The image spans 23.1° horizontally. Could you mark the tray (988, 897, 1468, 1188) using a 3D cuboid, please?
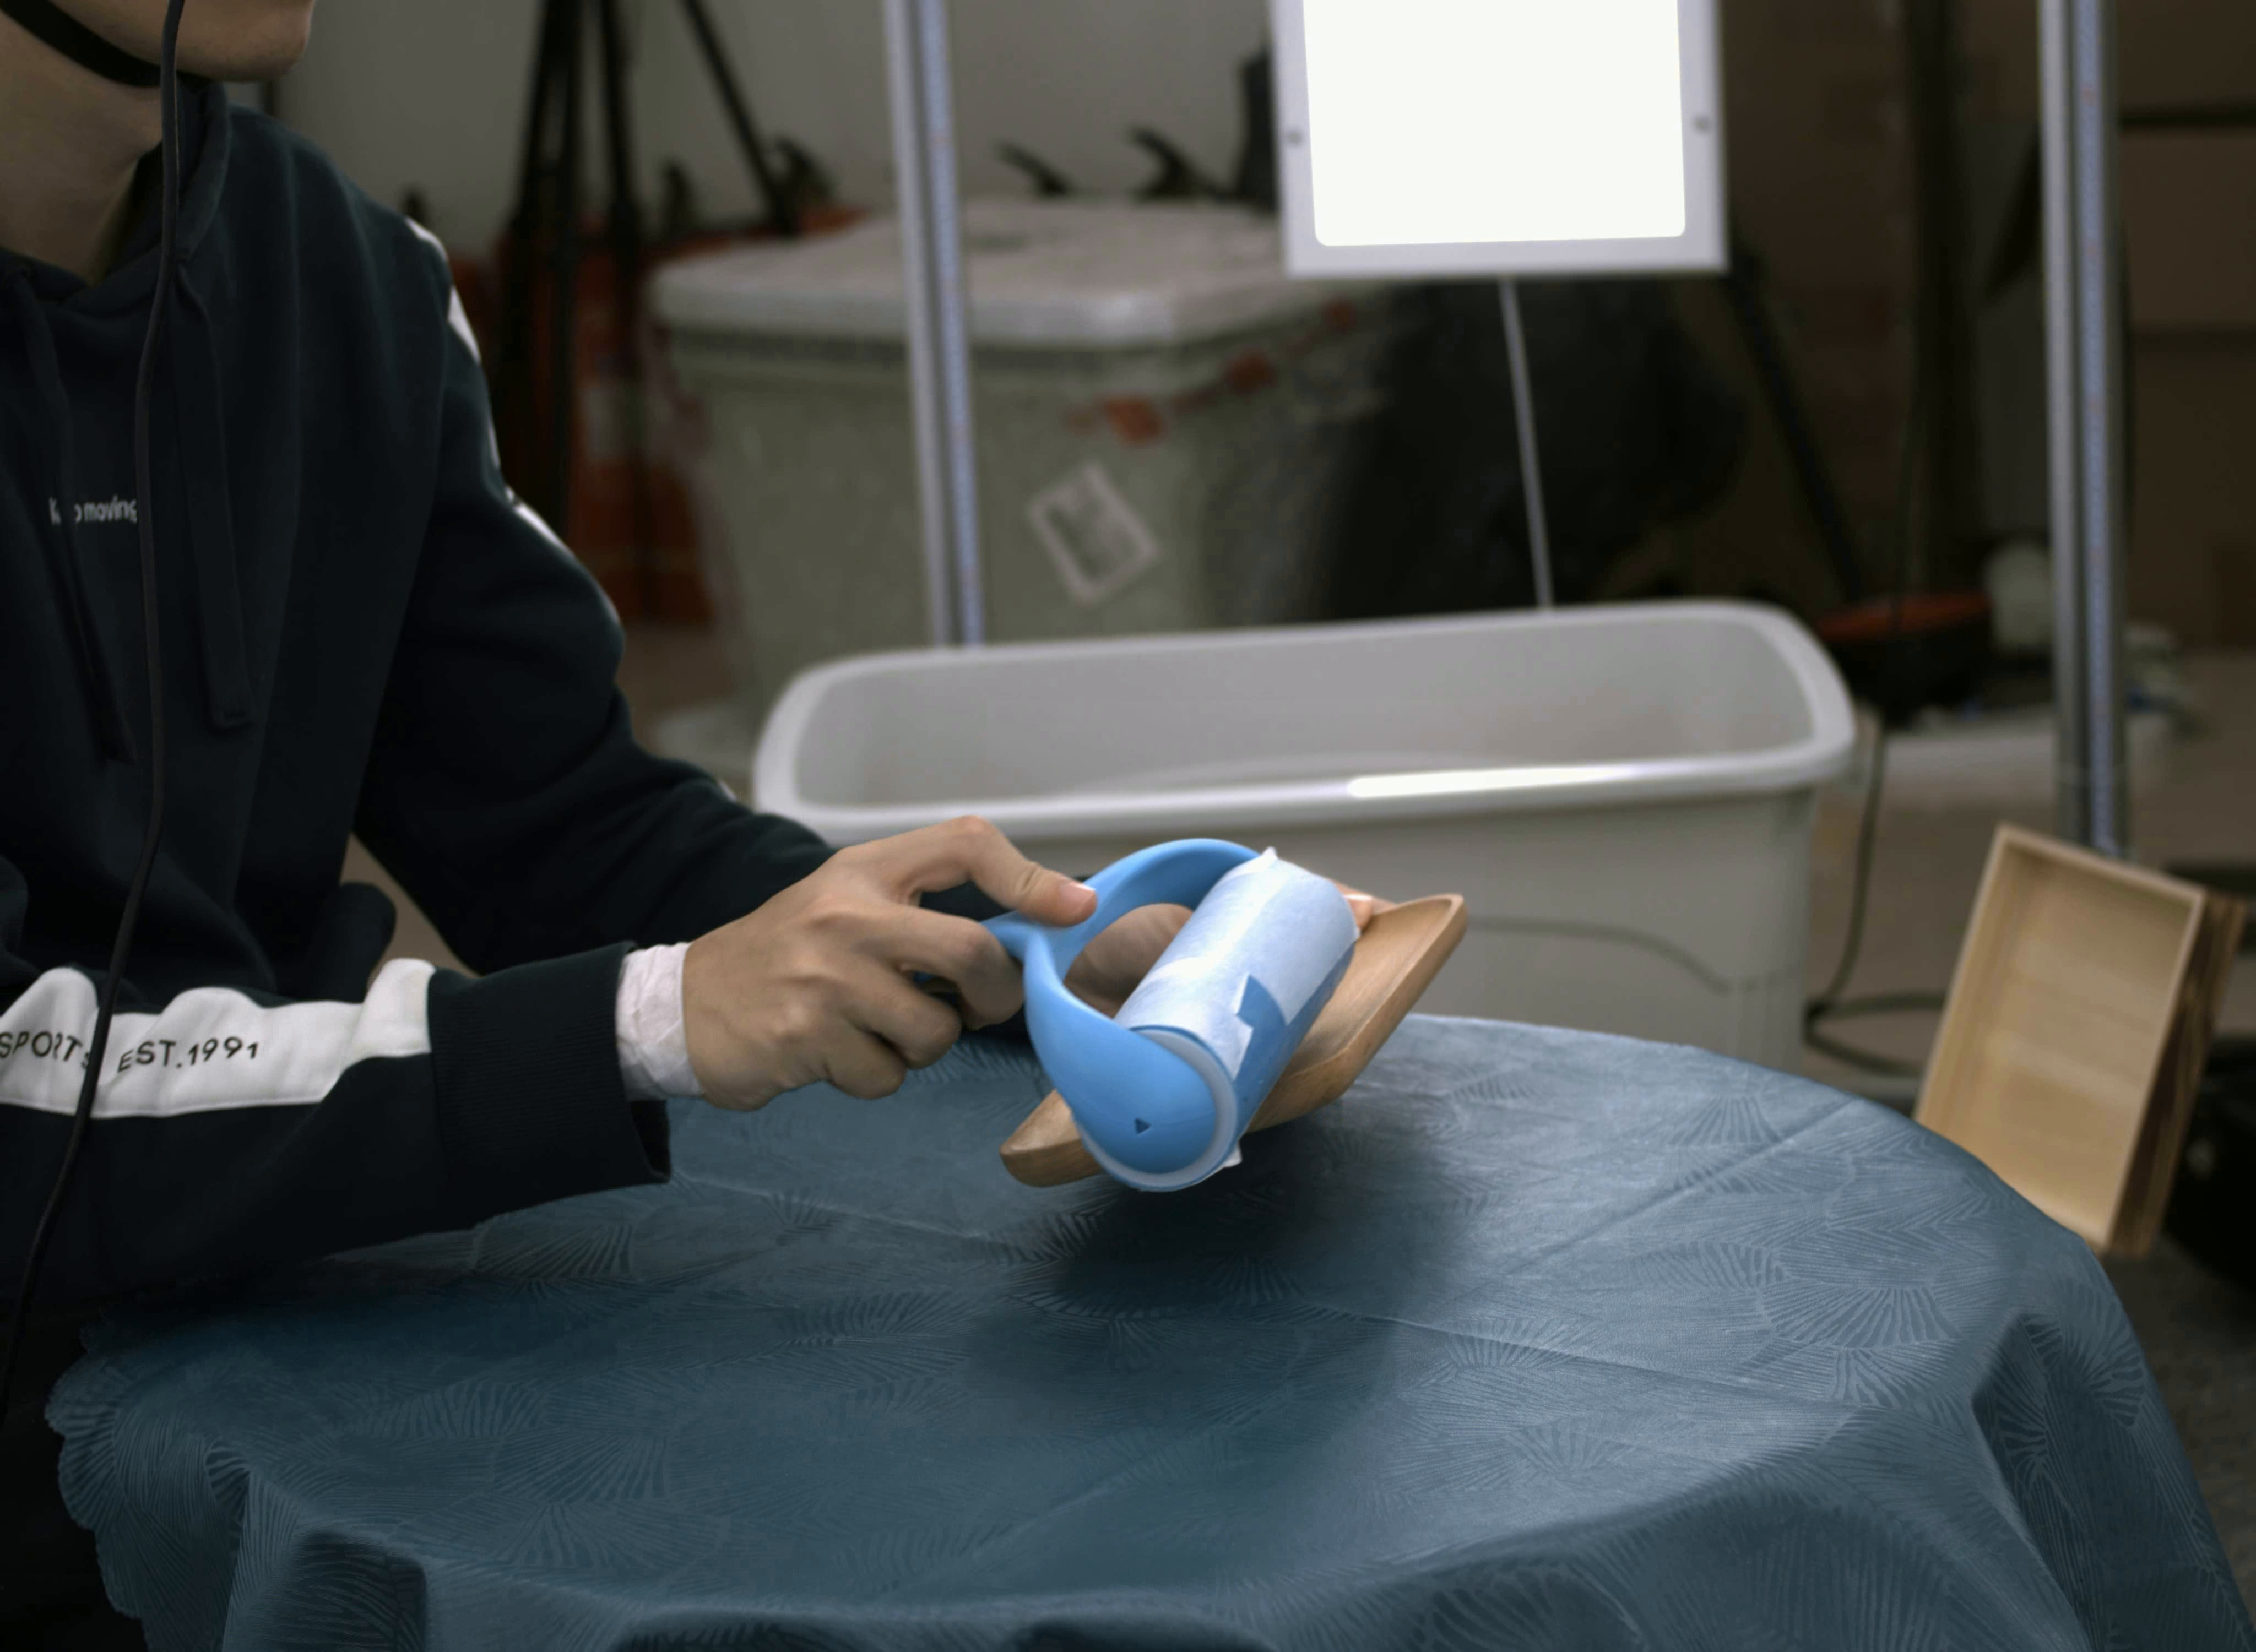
[{"bbox_3d":[0.039,0.073,1.896,0.132,0.023,0.247,-20,8,20],"label":"tray"}]

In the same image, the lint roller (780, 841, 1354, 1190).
[{"bbox_3d":[-0.028,0.060,1.780,0.181,0.068,0.226,-1,17,12],"label":"lint roller"}]
